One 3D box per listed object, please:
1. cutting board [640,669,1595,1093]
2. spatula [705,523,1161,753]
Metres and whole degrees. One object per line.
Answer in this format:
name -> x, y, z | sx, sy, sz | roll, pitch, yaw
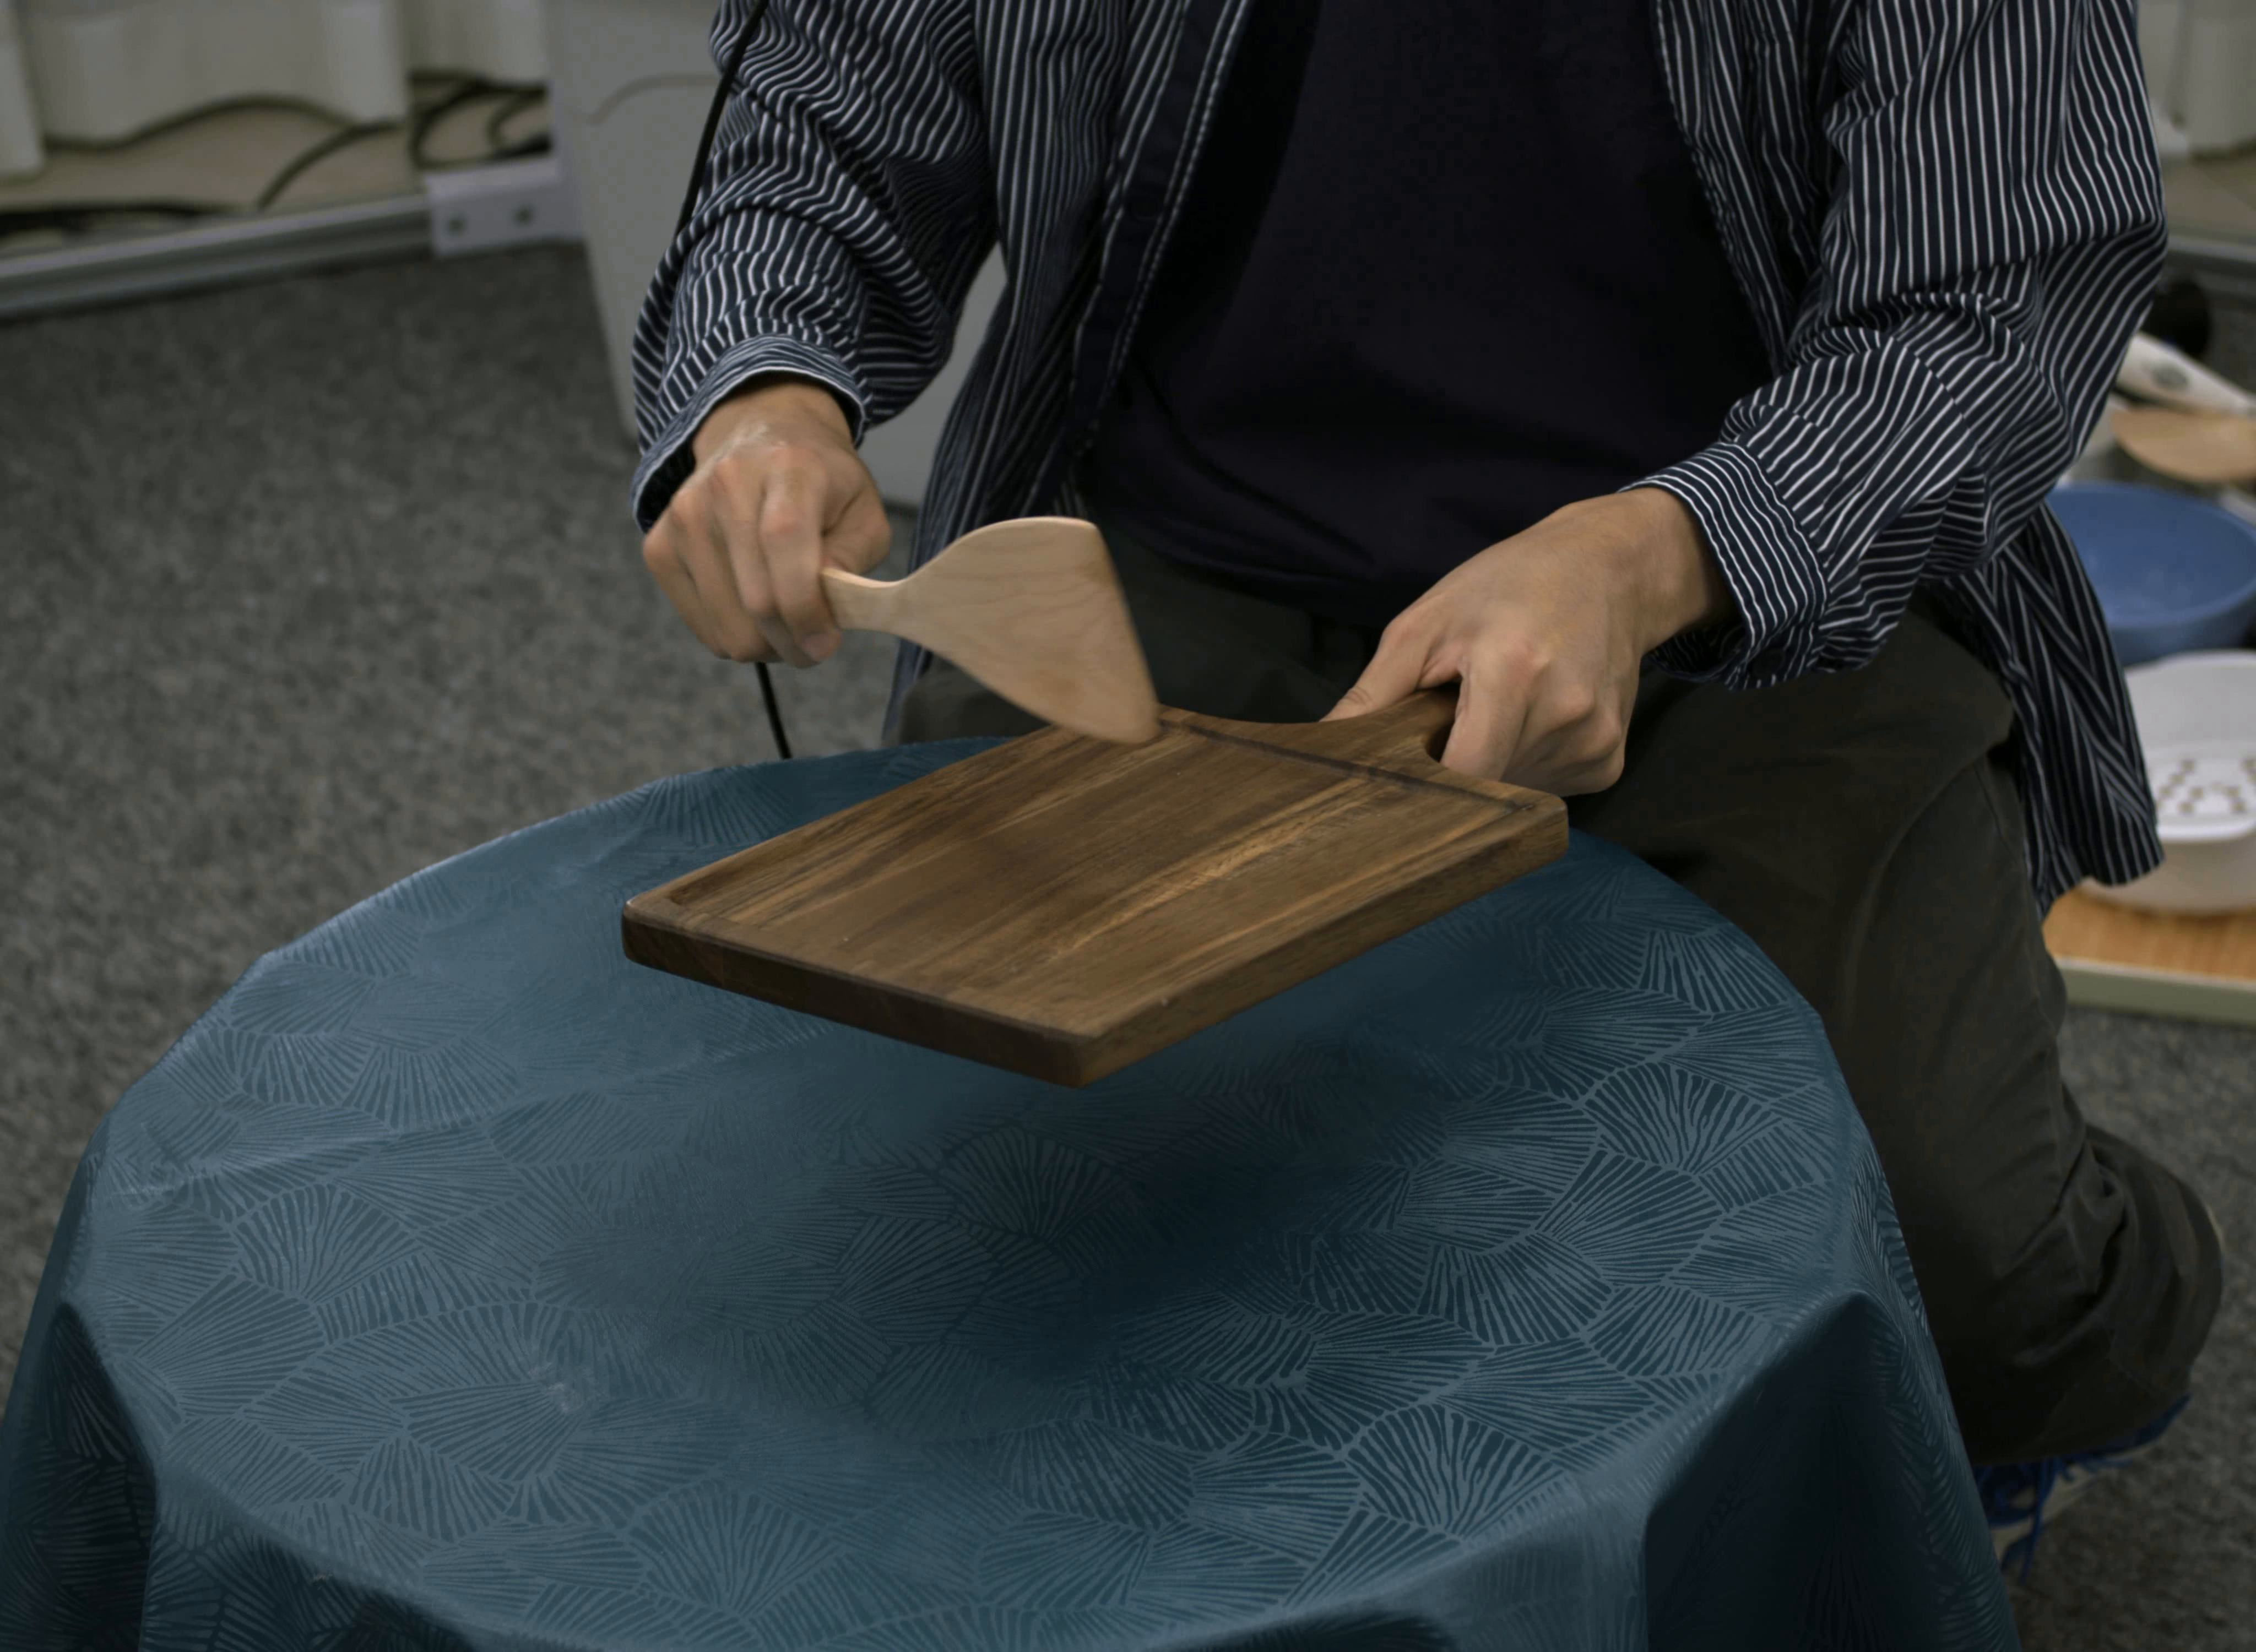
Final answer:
cutting board -> 0.031, 0.005, 1.820 | 0.200, 0.023, 0.356 | 14, 25, 39
spatula -> -0.073, -0.071, 1.886 | 0.016, 0.079, 0.326 | -28, 17, -21
